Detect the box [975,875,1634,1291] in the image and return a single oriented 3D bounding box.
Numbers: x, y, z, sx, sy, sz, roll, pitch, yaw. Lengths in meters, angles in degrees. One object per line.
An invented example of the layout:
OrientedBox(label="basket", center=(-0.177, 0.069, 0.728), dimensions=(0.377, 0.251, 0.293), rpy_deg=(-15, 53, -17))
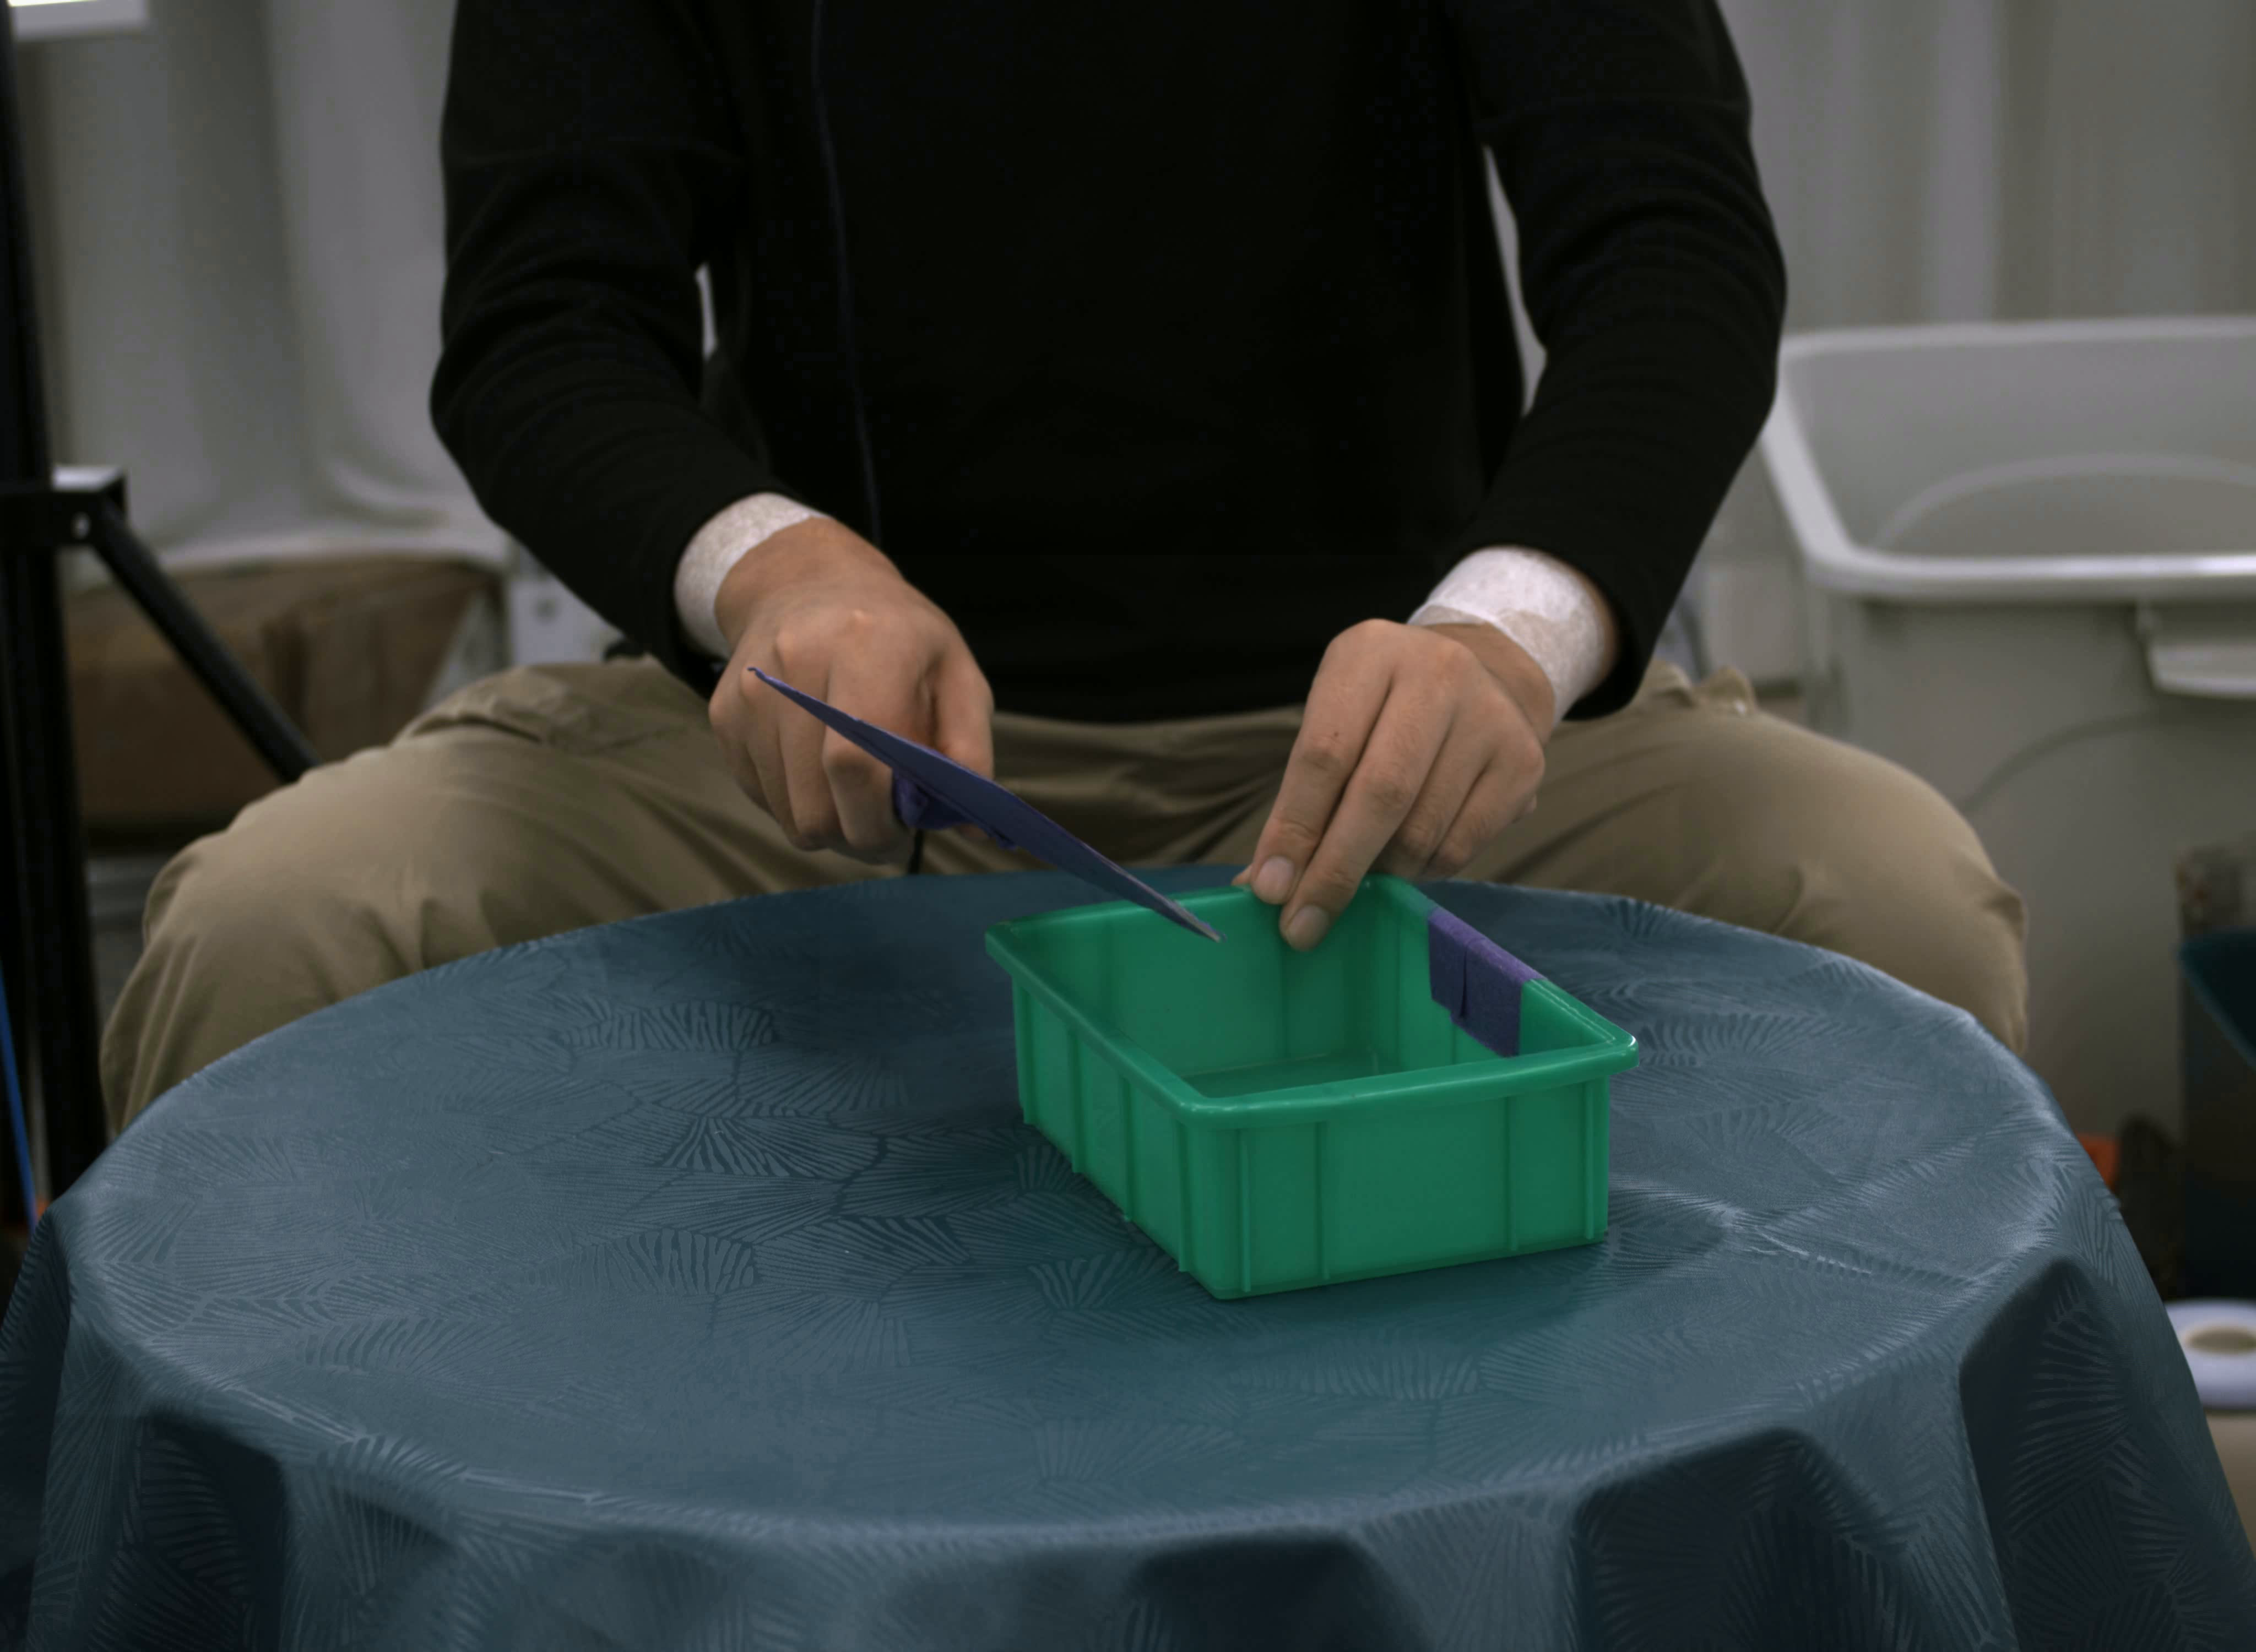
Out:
OrientedBox(label="box", center=(0.049, 0.074, 1.557), dimensions=(0.136, 0.065, 0.214), rpy_deg=(-6, 14, -18))

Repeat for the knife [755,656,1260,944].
OrientedBox(label="knife", center=(-0.061, -0.021, 1.626), dimensions=(0.102, 0.032, 0.321), rpy_deg=(36, -7, -25))
